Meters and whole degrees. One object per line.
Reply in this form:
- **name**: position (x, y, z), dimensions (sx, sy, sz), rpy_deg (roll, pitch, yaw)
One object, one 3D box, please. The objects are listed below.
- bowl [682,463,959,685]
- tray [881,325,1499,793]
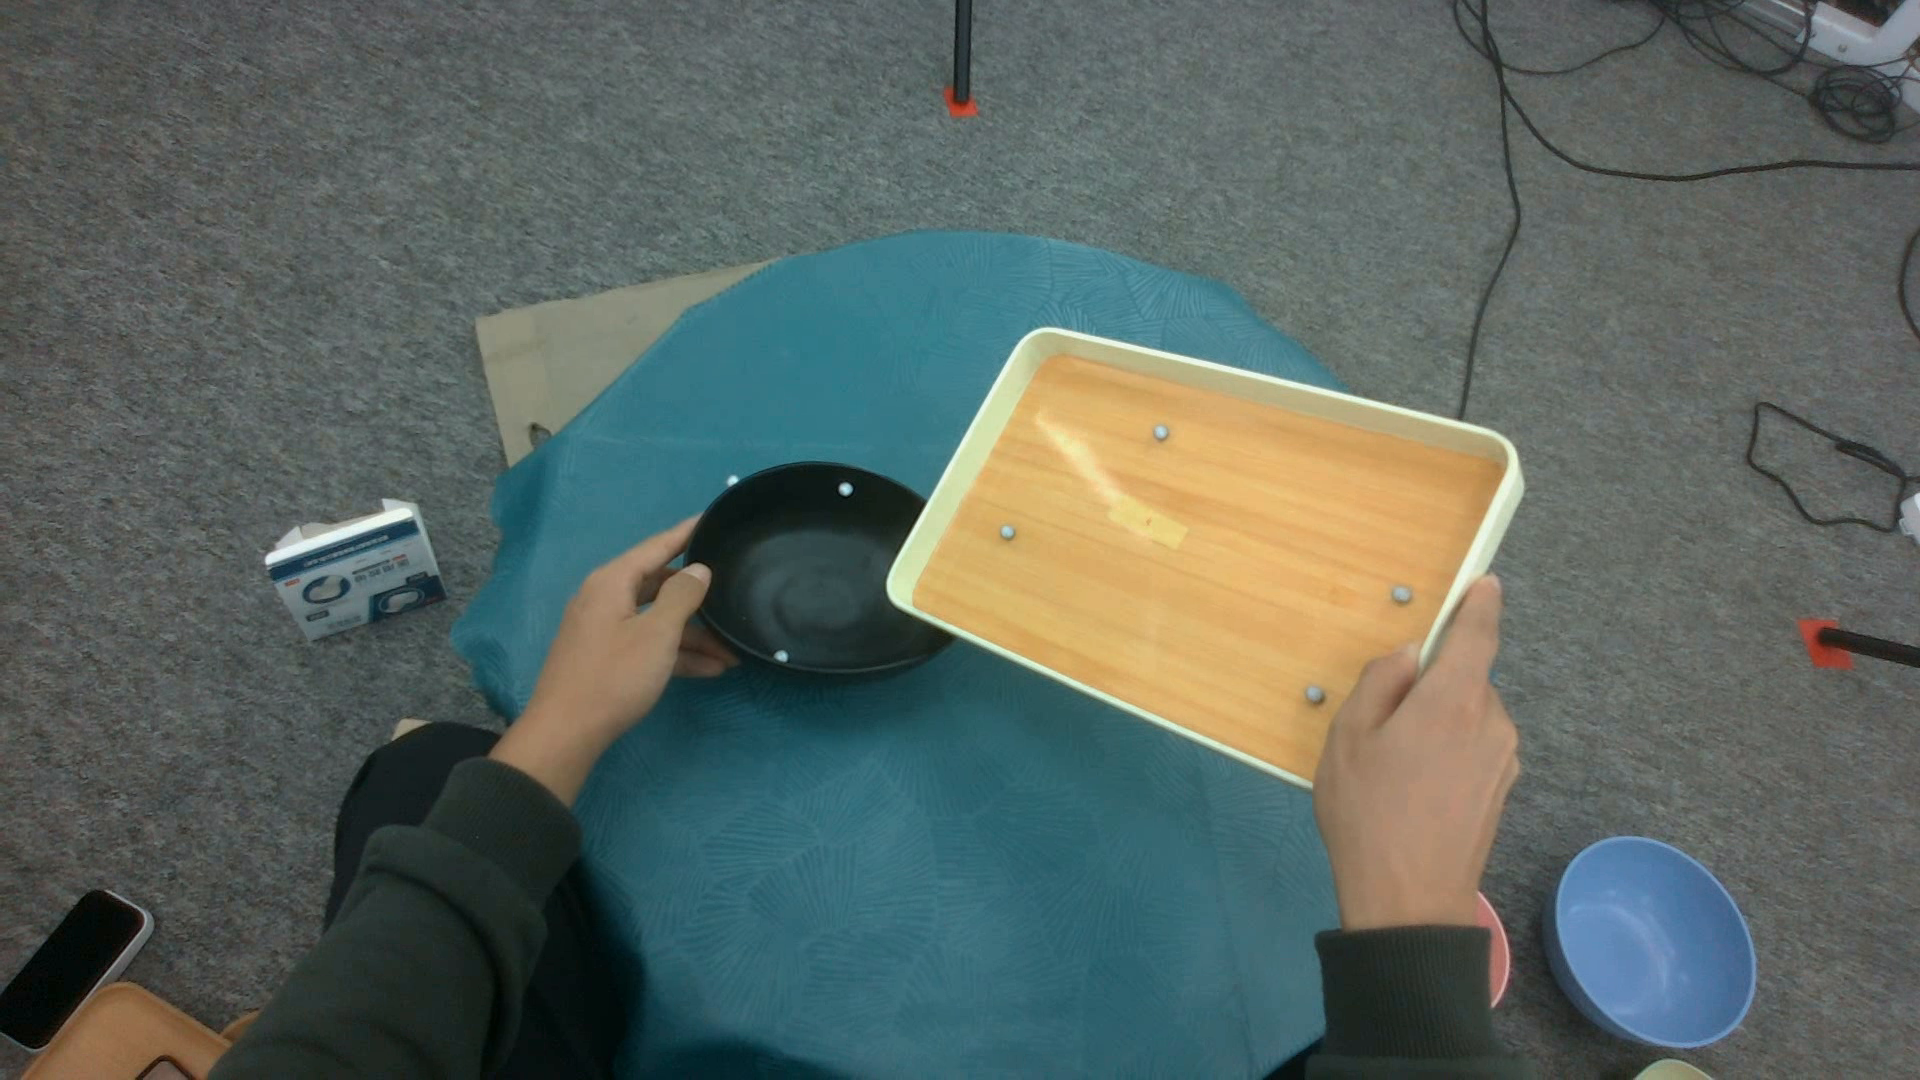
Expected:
- **bowl**: position (-0.080, 0.028, 0.808), dimensions (0.170, 0.066, 0.138), rpy_deg (3, 60, -17)
- **tray**: position (0.107, -0.005, 0.729), dimensions (0.300, 0.027, 0.192), rpy_deg (20, 77, 38)
